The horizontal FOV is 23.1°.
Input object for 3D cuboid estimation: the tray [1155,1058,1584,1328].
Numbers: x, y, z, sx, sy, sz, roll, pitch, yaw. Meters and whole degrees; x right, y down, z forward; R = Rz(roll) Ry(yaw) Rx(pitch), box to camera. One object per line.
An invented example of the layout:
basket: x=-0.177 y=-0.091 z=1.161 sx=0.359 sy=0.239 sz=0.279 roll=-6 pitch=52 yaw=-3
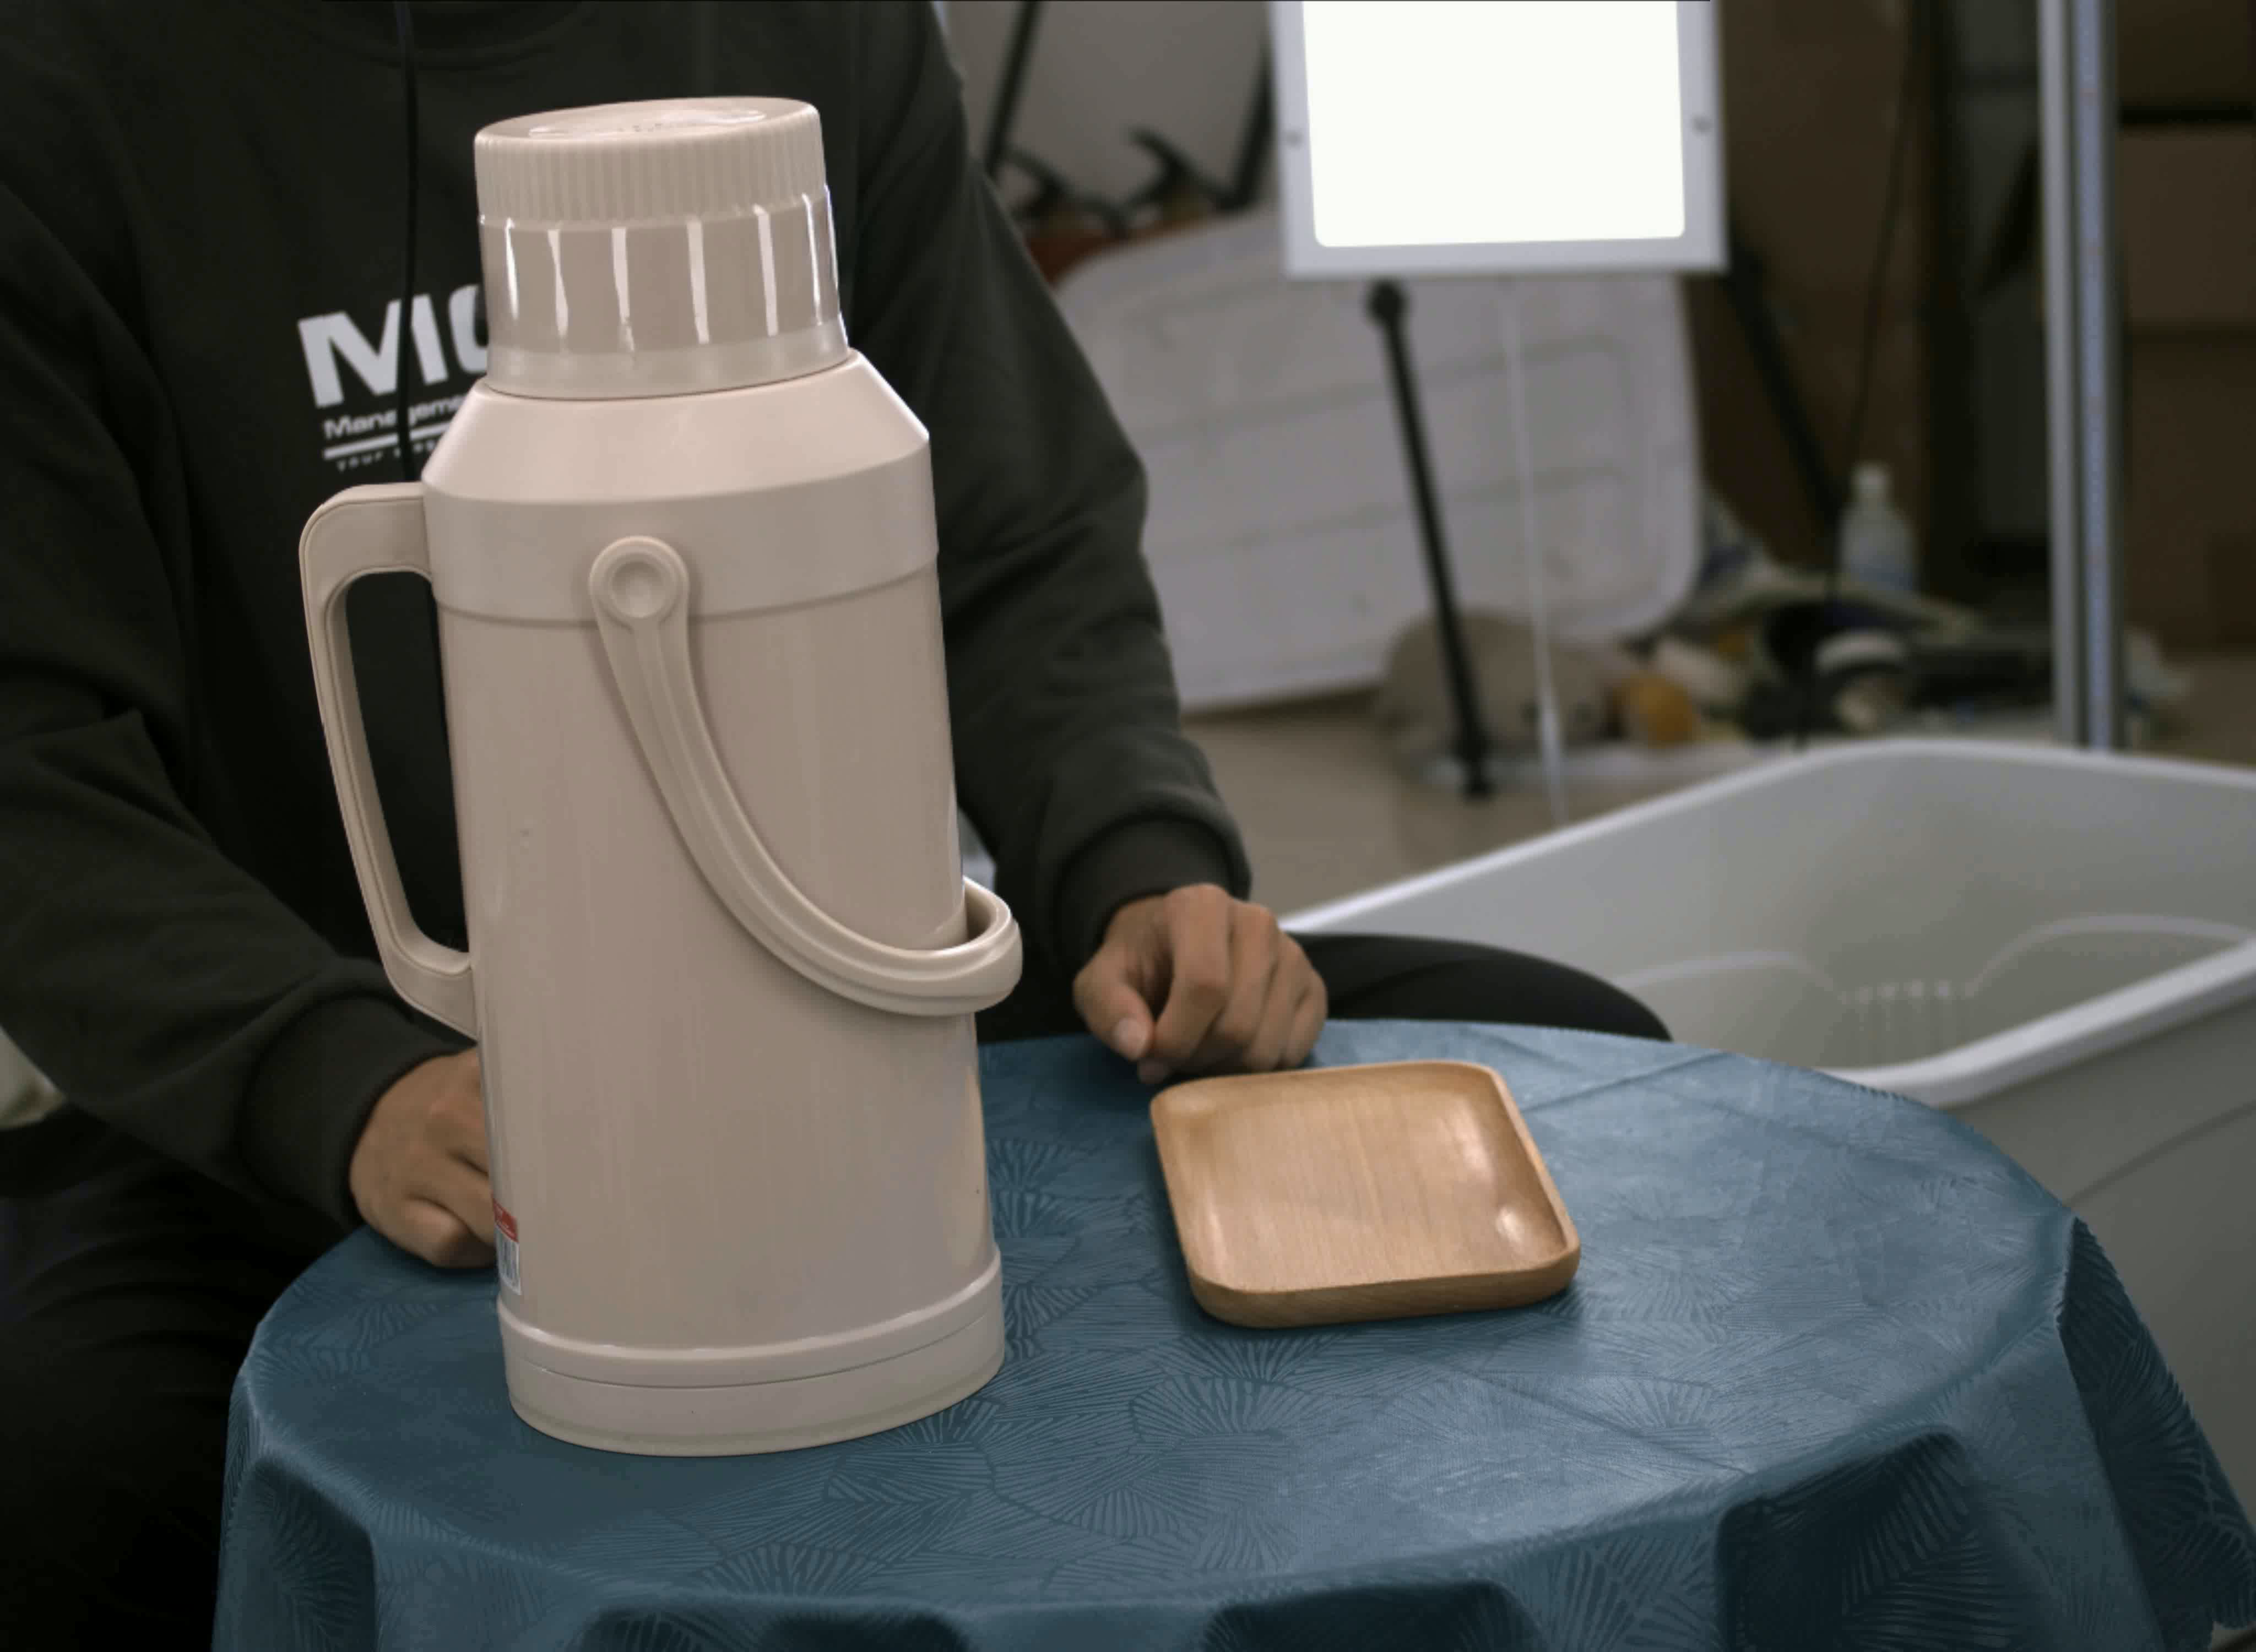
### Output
tray: x=0.078 y=0.122 z=1.858 sx=0.130 sy=0.023 sz=0.250 roll=-3 pitch=13 yaw=-1

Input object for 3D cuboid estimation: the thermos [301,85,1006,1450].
thermos: x=-0.145 y=-0.019 z=1.709 sx=0.207 sy=0.408 sz=0.174 roll=-3 pitch=15 yaw=6
